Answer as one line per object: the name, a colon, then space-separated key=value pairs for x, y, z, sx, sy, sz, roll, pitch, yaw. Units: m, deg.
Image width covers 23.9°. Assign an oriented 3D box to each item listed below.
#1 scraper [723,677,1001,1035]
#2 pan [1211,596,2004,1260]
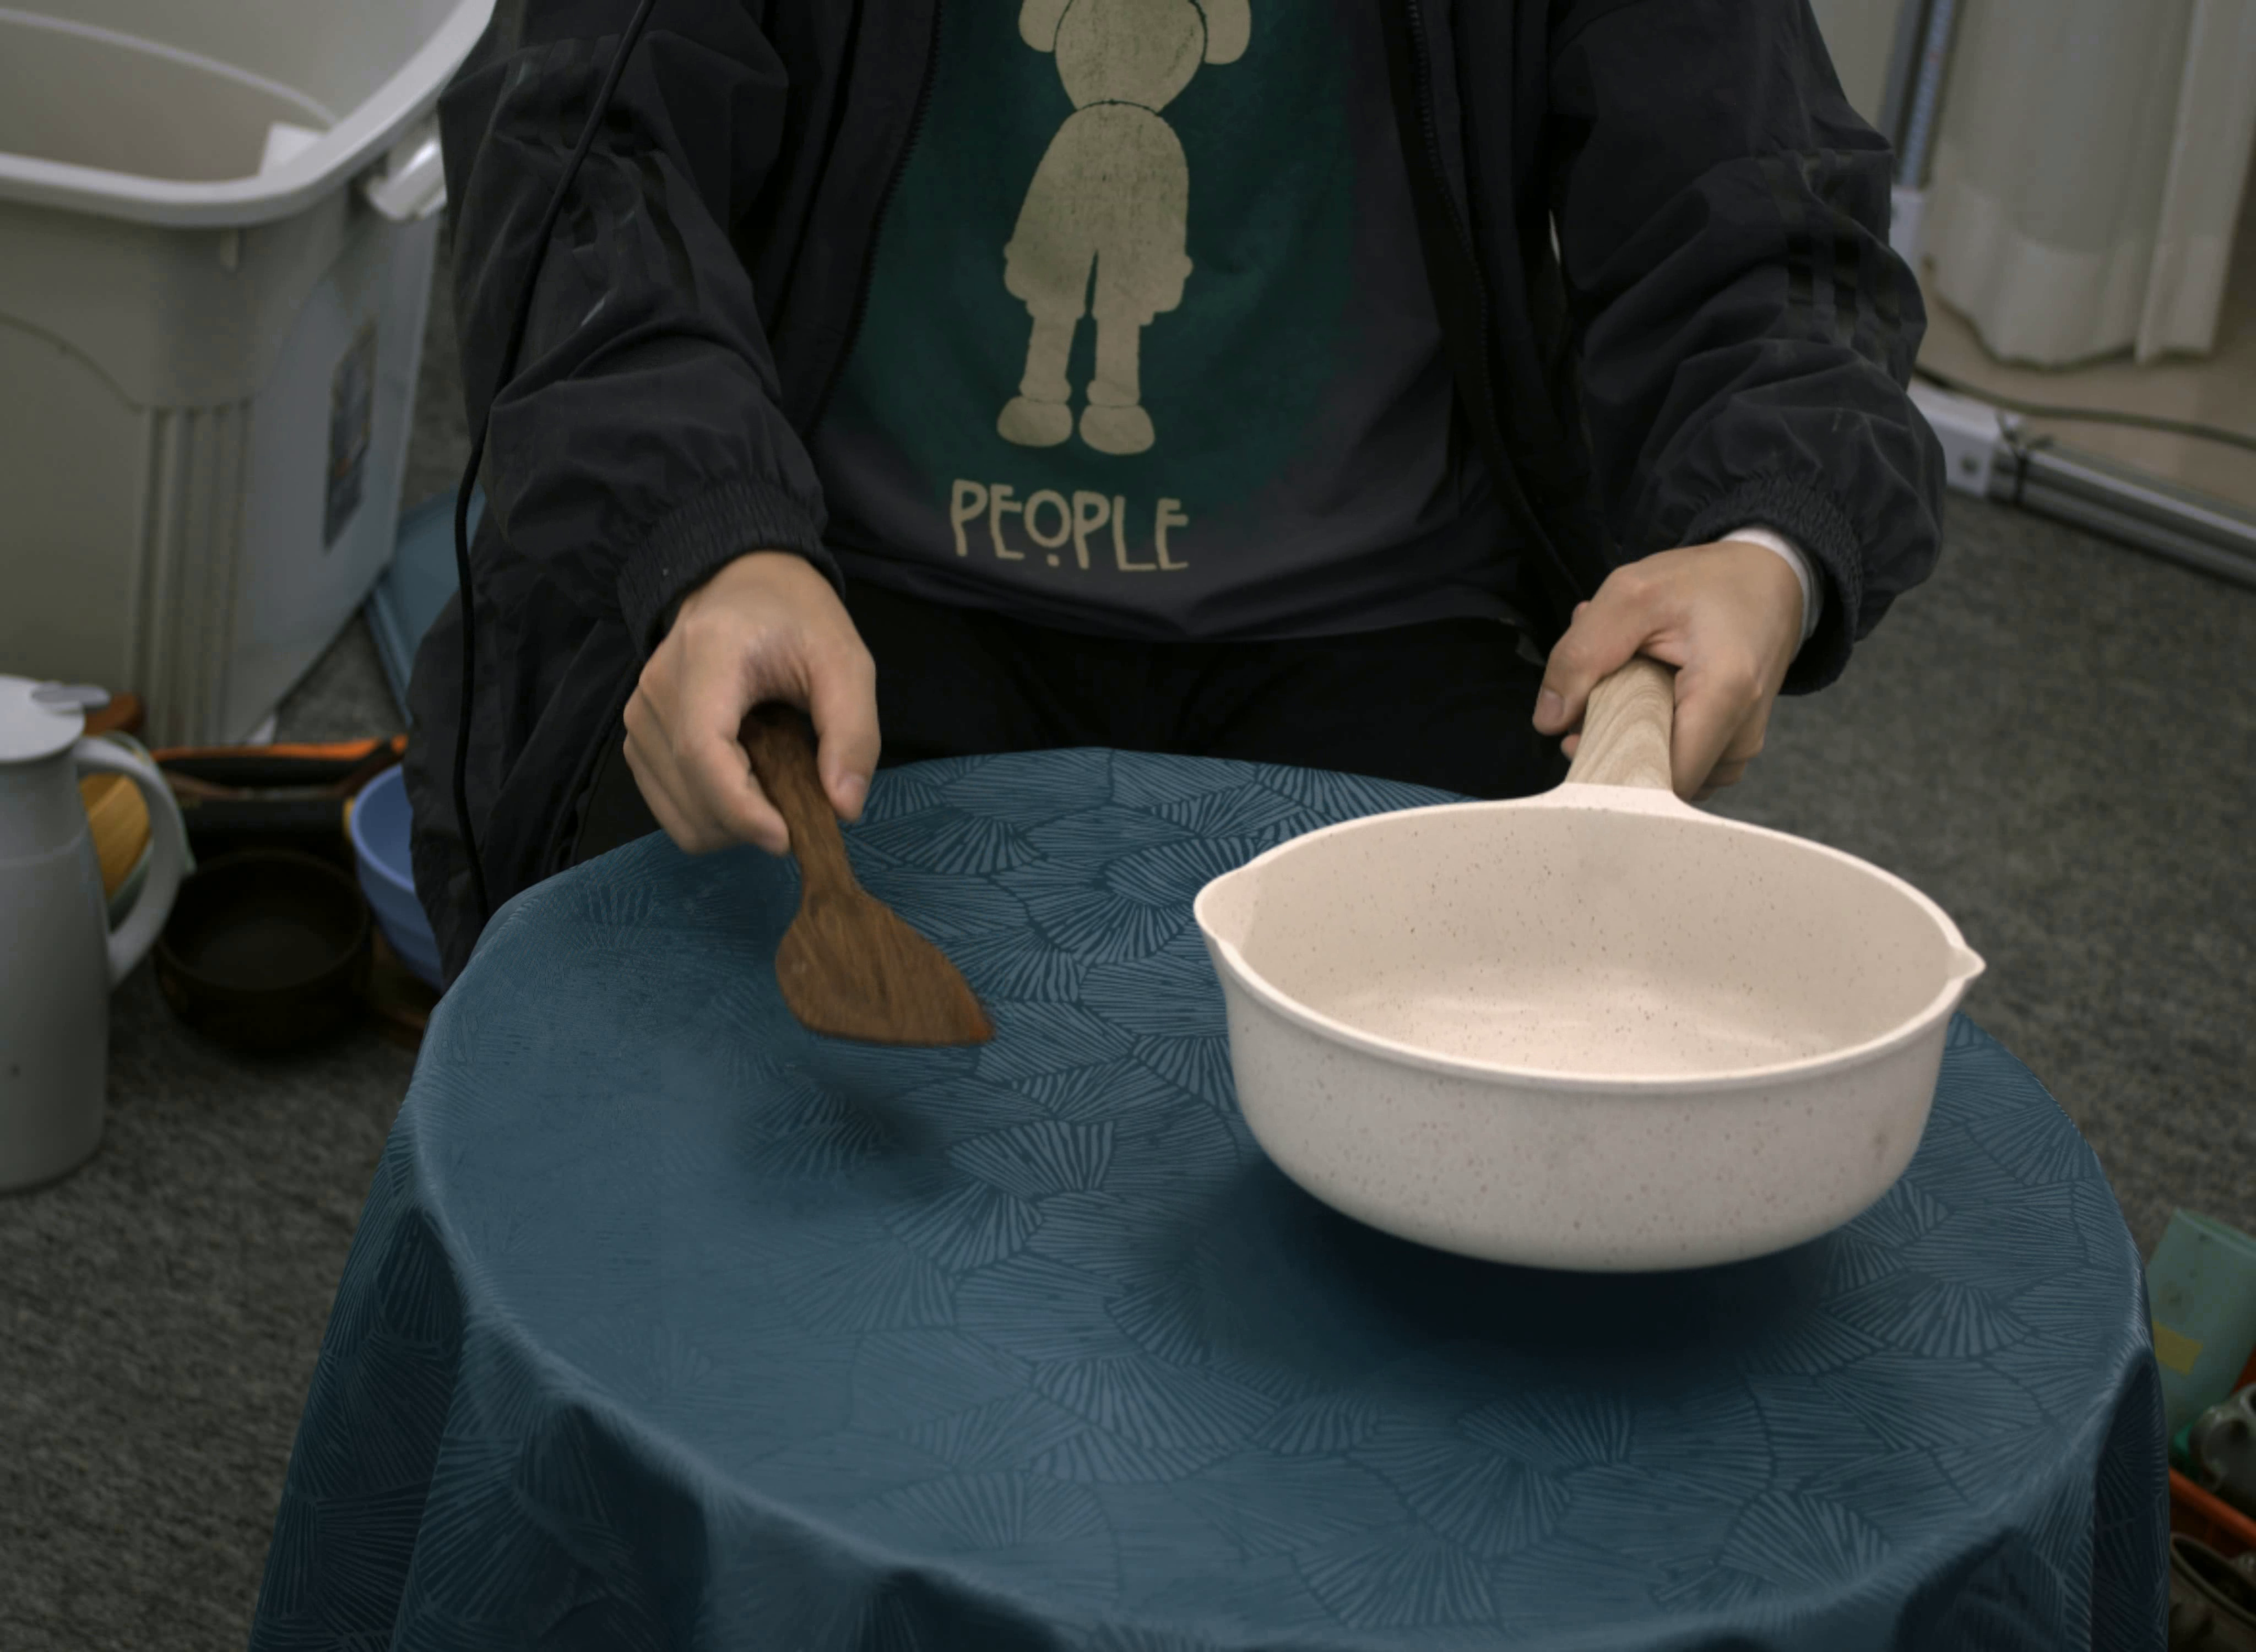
scraper: x=-0.105 y=0.009 z=1.860 sx=0.075 sy=0.011 sz=0.213 roll=6 pitch=34 yaw=-25
pan: x=0.171 y=0.032 z=1.863 sx=0.263 sy=0.102 sz=0.436 roll=3 pitch=20 yaw=8
